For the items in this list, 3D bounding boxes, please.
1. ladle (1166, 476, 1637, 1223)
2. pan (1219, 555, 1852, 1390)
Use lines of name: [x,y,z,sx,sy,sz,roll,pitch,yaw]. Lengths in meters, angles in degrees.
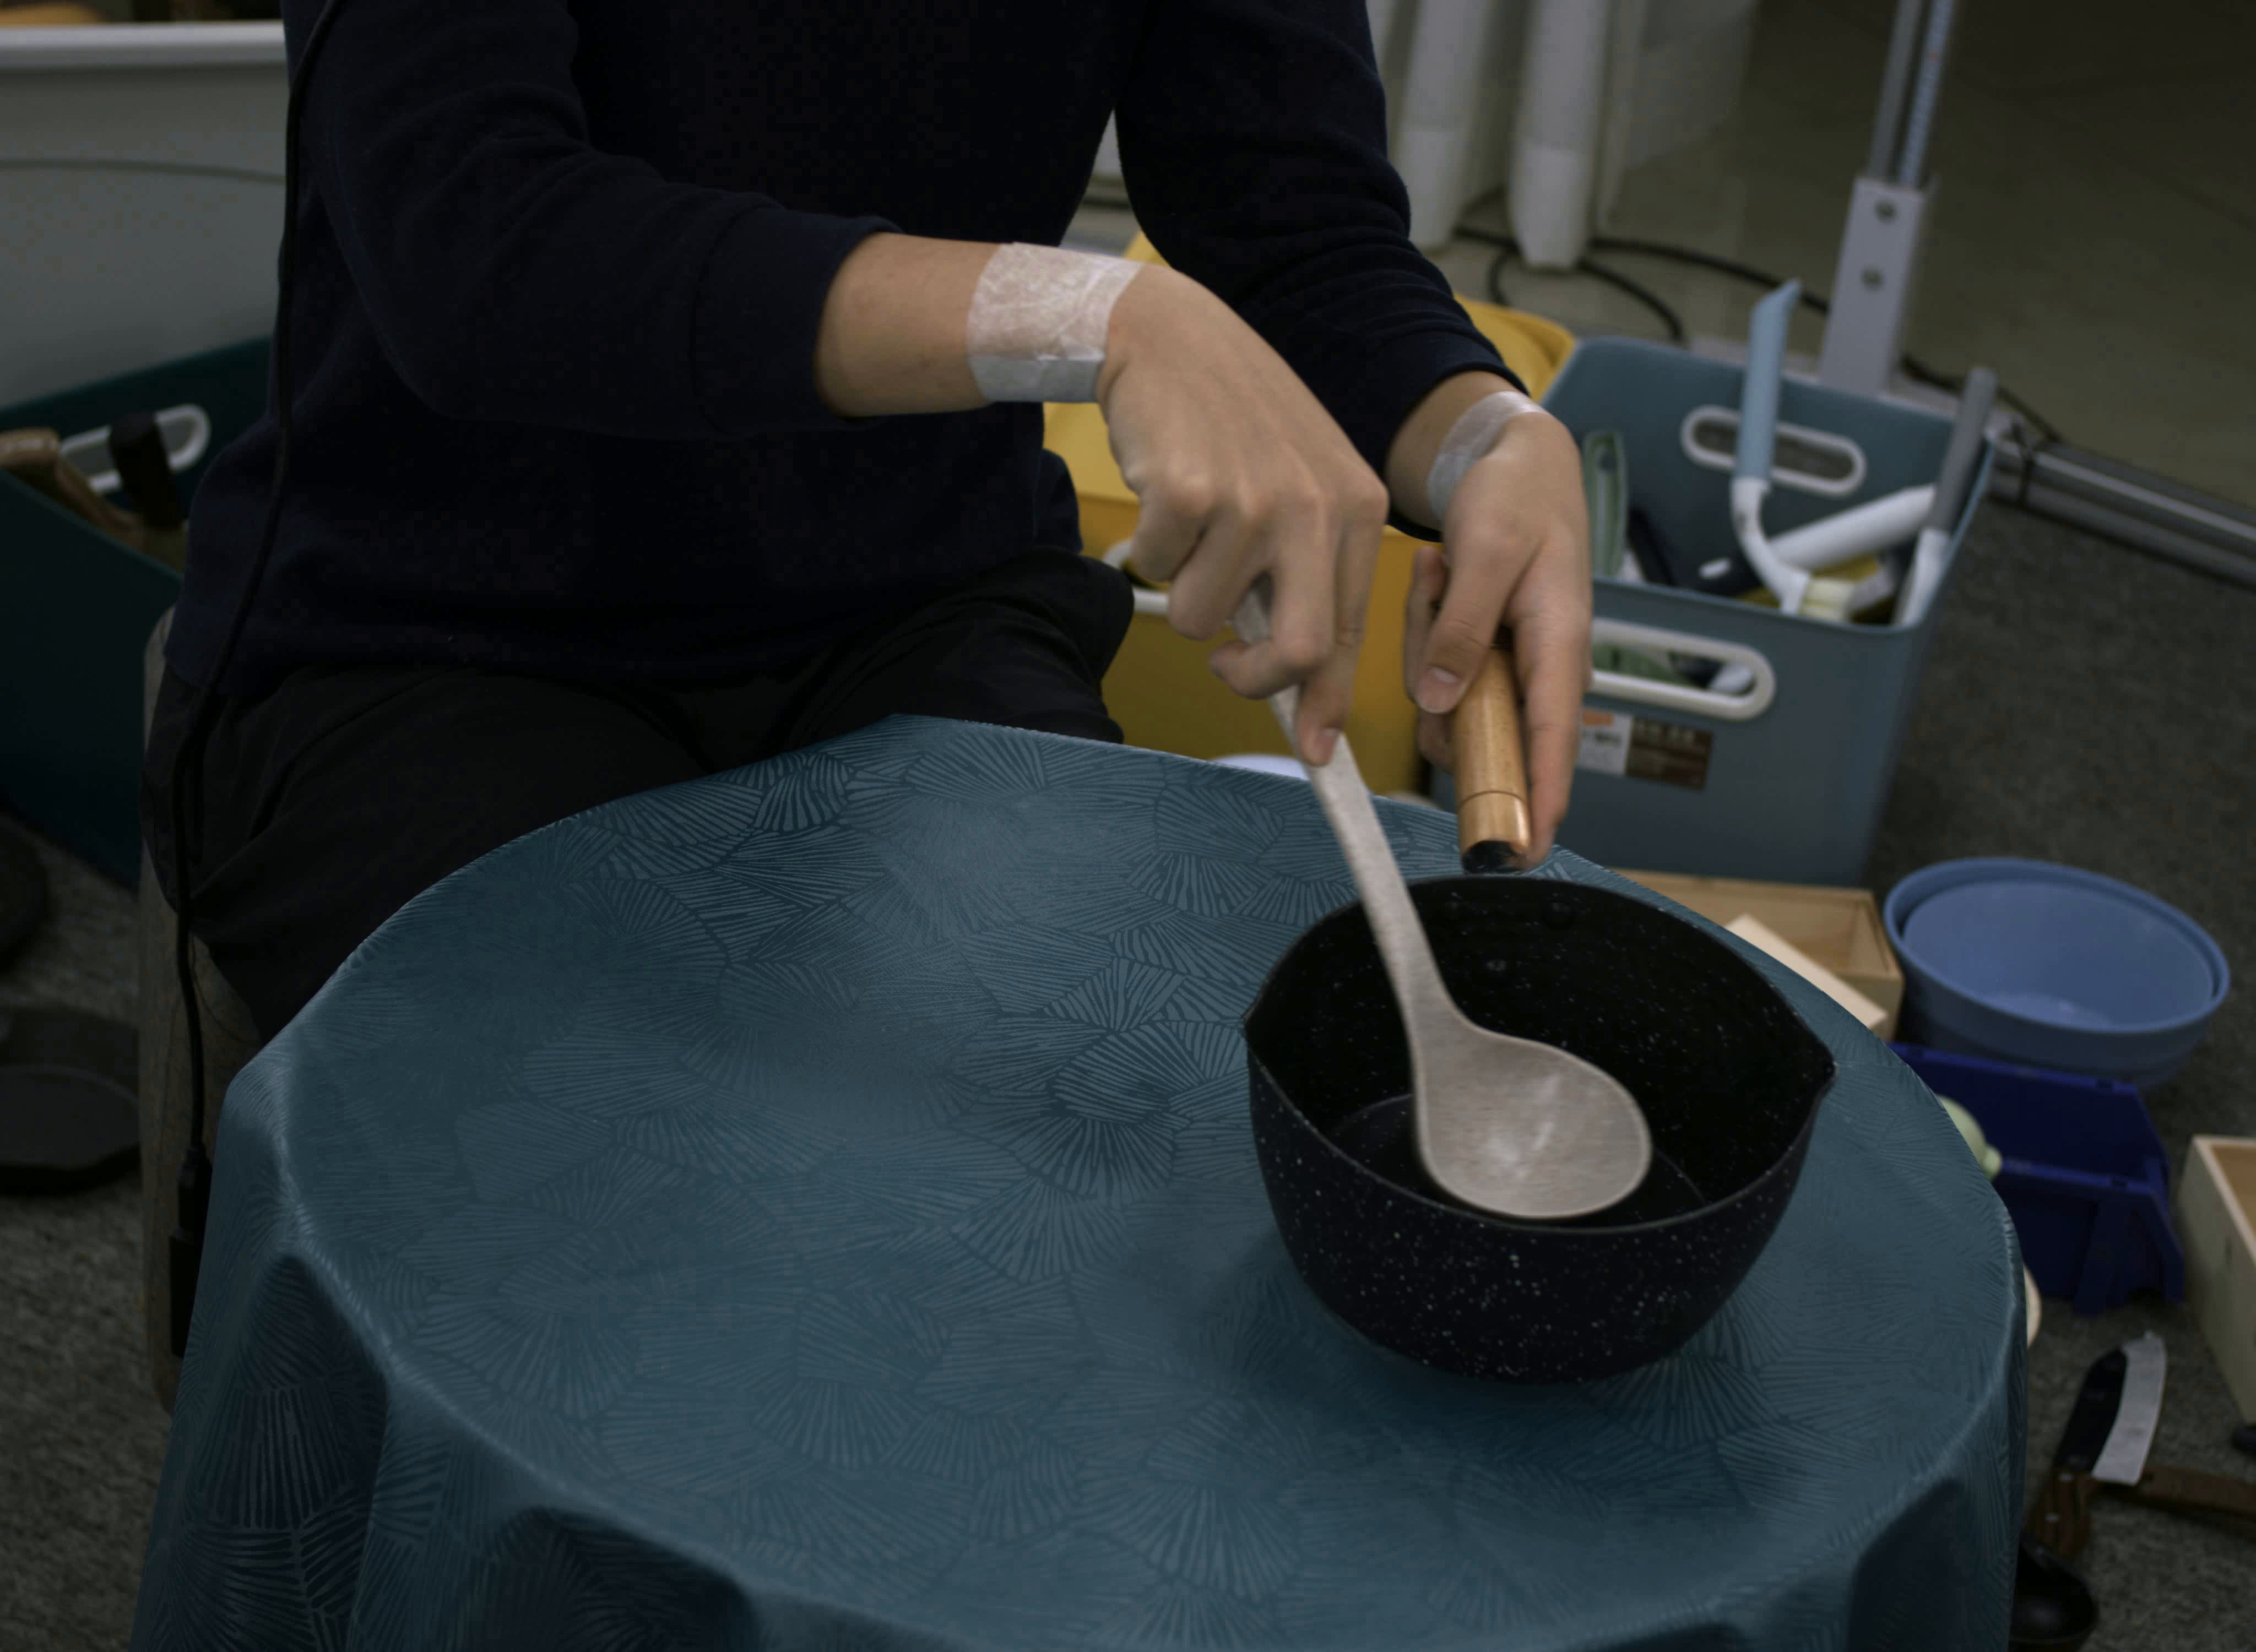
ladle: [0.089,0.007,1.745,0.070,0.274,0.089,-6,22,46]
pan: [0.127,0.047,1.811,0.206,0.108,0.345,1,38,-5]
